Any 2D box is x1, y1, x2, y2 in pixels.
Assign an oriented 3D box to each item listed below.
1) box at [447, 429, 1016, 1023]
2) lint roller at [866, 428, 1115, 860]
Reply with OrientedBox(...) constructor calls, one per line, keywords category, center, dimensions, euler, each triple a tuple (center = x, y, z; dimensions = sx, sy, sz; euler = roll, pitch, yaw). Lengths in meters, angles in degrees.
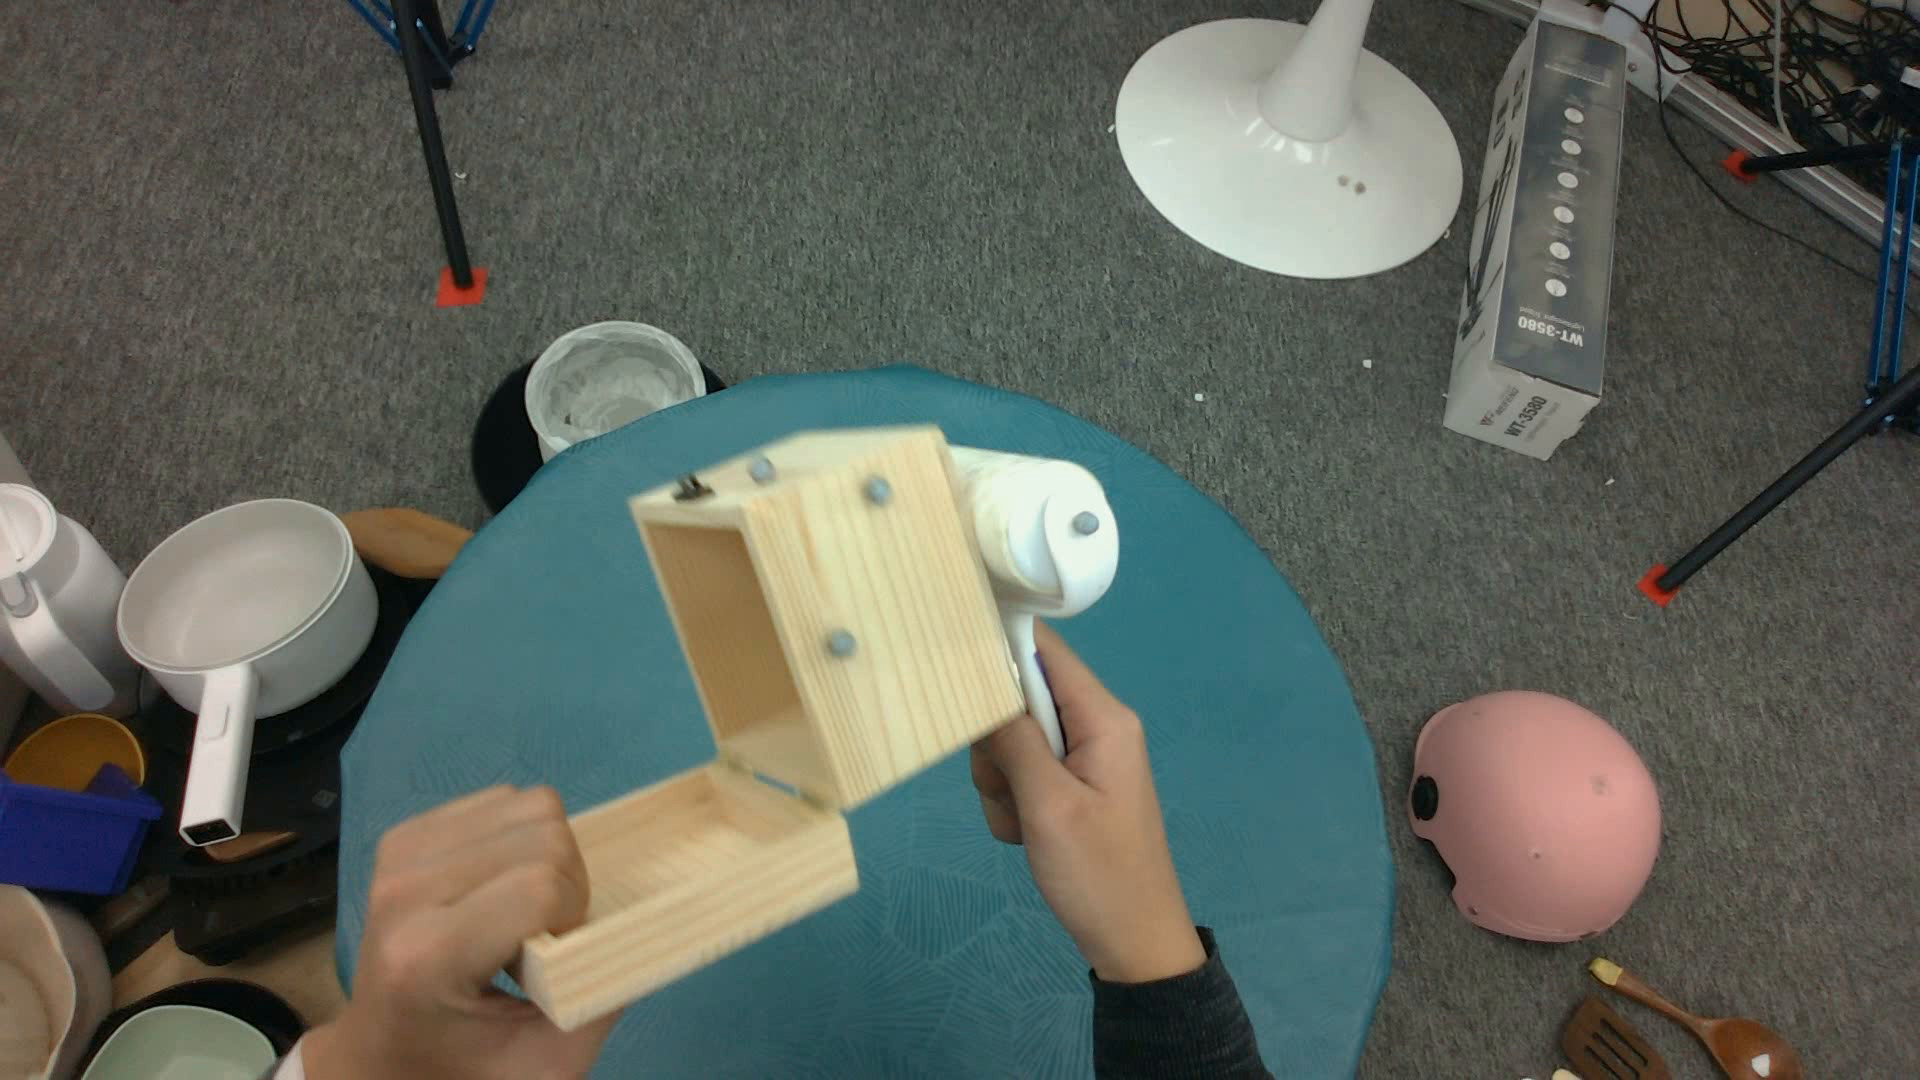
OrientedBox(category="box", center=(-0.089, 0.047, 0.468), dimensions=(0.185, 0.102, 0.133), euler=(-24, 105, -31))
OrientedBox(category="lint roller", center=(0.026, 0.042, 0.531), dimensions=(0.050, 0.132, 0.180), euler=(-35, 115, -27))
